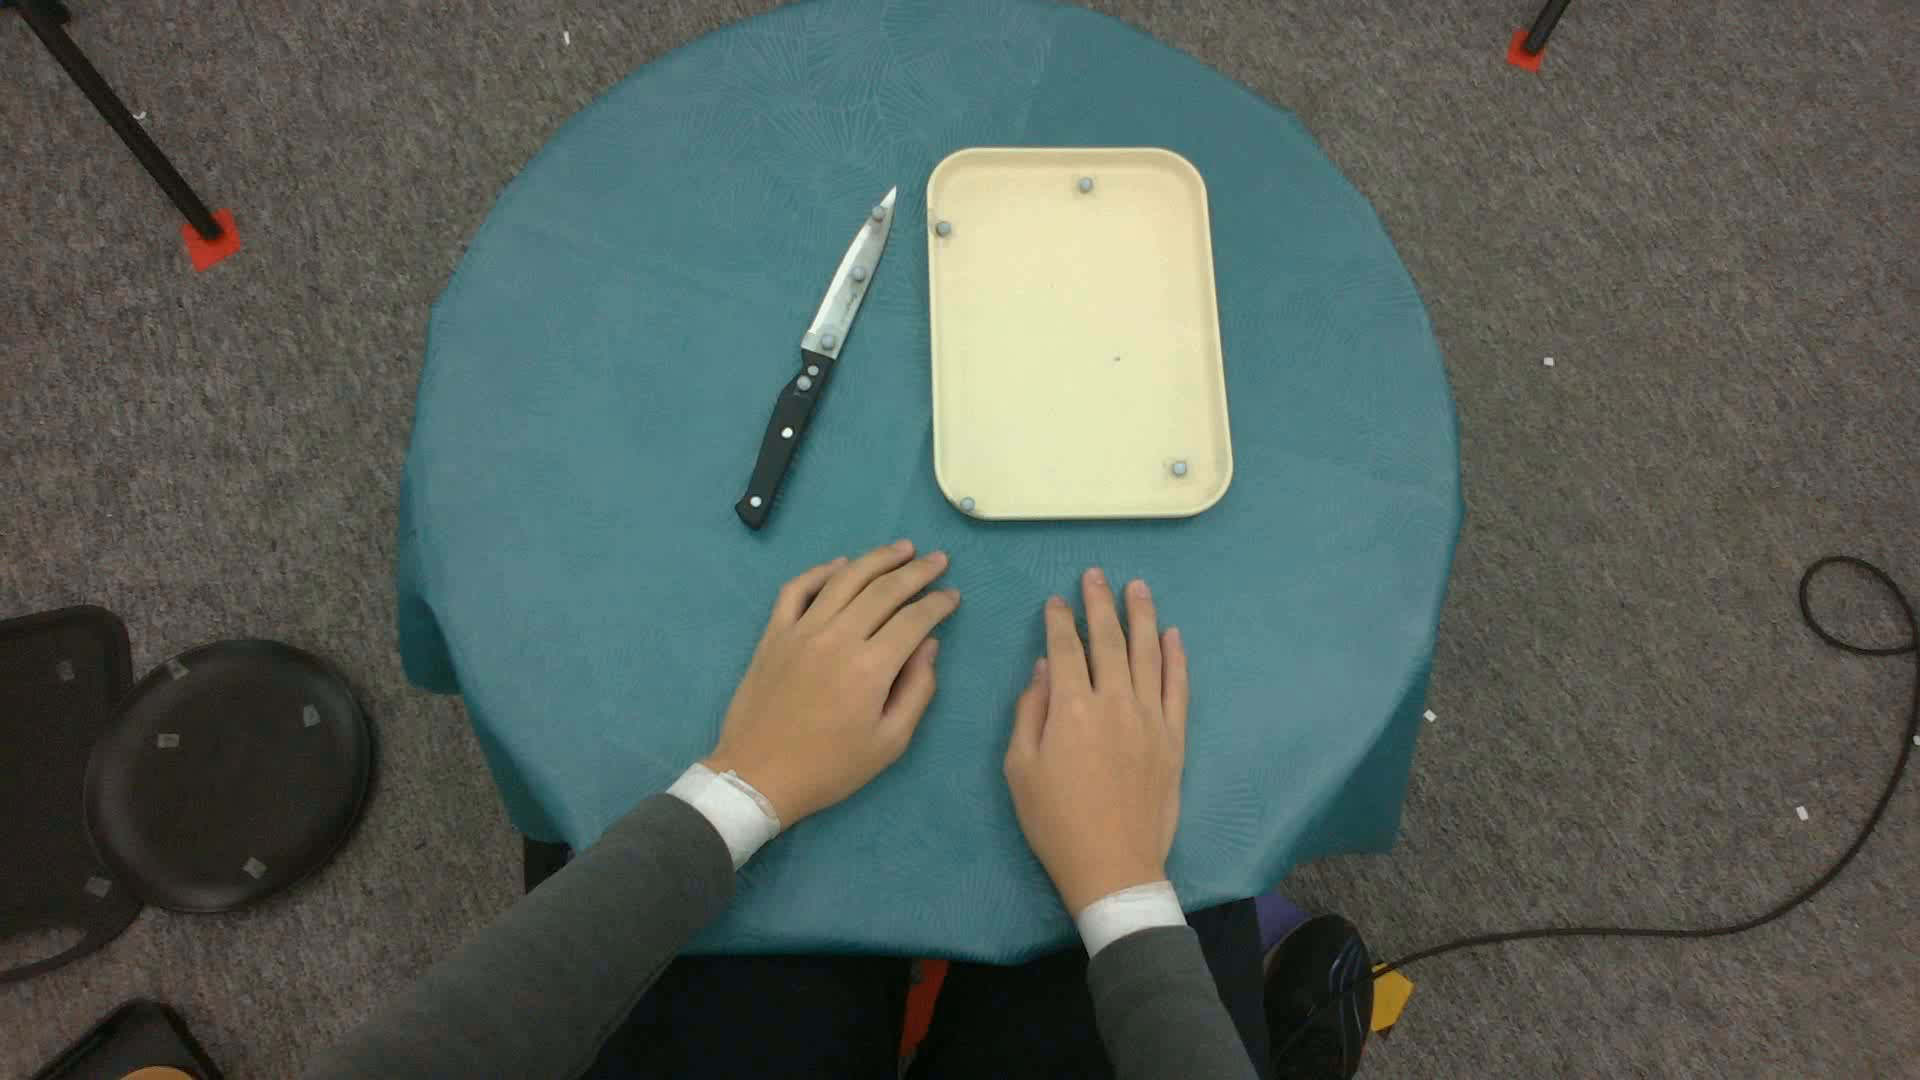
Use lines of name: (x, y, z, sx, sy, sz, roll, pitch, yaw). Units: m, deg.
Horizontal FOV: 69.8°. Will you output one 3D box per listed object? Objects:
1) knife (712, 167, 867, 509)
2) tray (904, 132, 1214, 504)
knife: (-0.091, -0.121, 0.795, 0.024, 0.016, 0.239, 19, 68, -1)
tray: (0.055, -0.133, 0.806, 0.171, 0.017, 0.240, -1, 71, -5)
